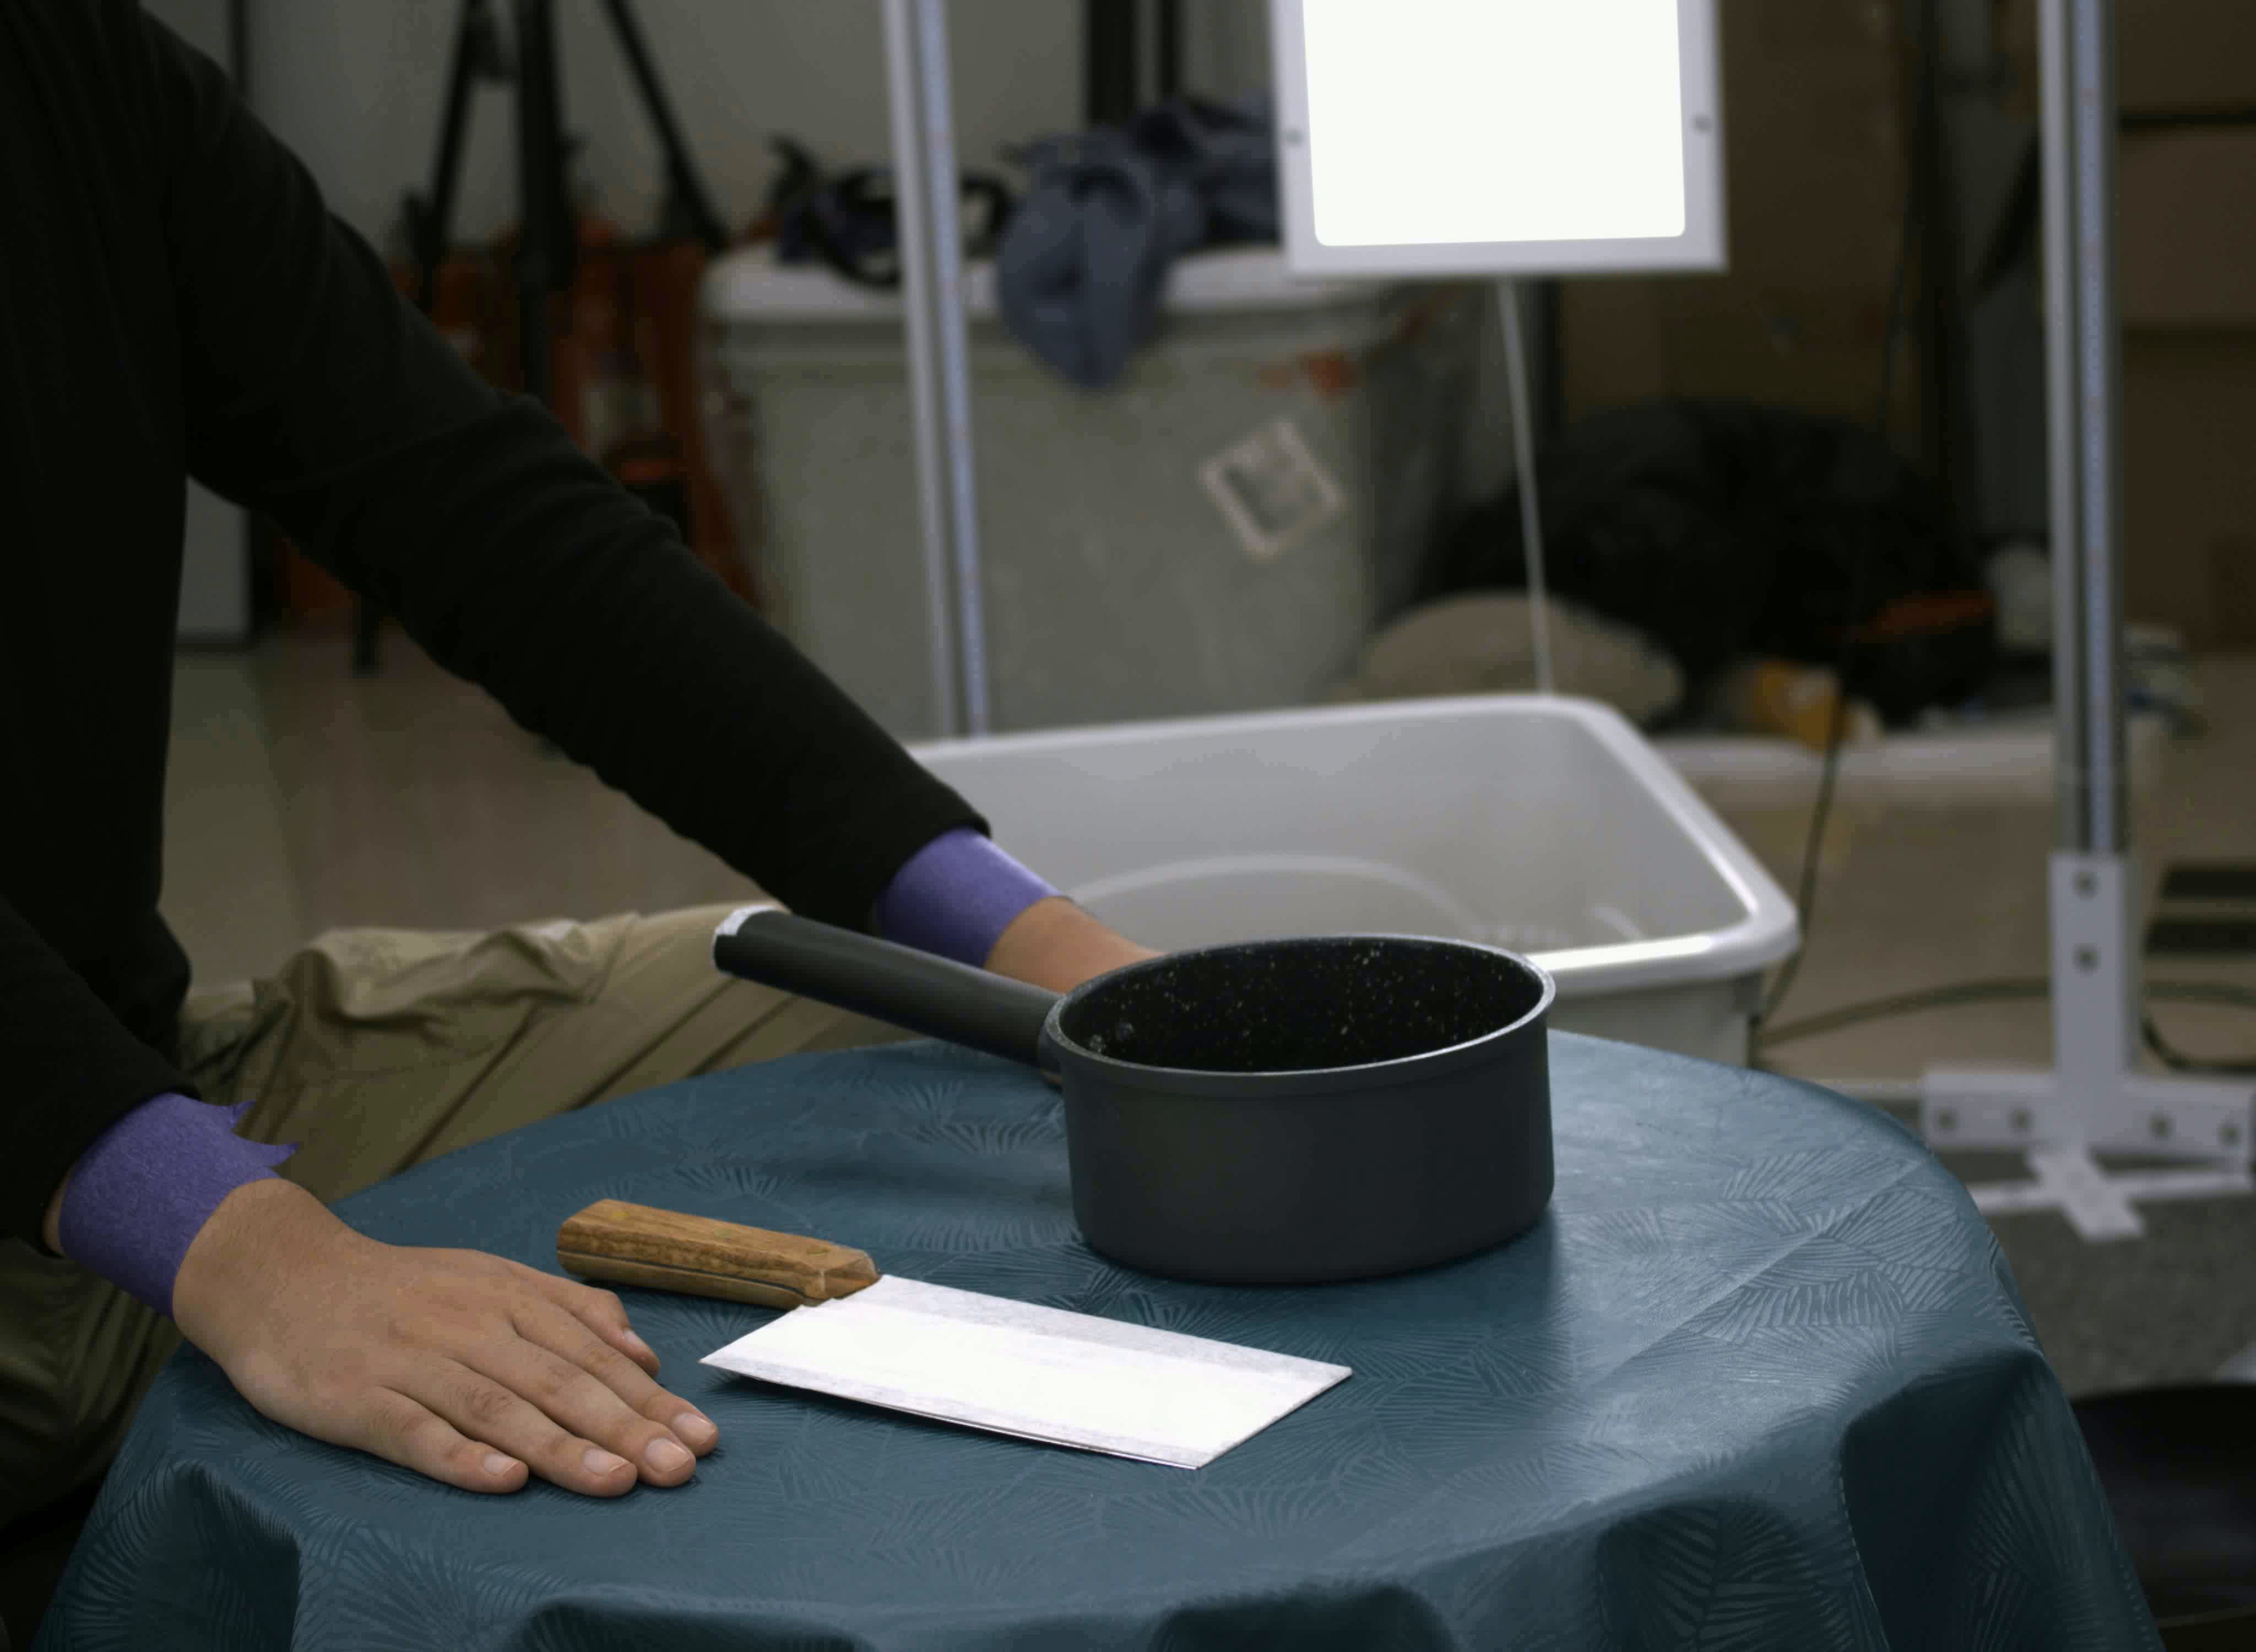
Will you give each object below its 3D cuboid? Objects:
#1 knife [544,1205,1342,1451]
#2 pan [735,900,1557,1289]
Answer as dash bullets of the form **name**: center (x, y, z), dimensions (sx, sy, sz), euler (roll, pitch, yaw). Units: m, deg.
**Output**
- **knife**: center (-0.079, 0.162, 1.753), dimensions (0.312, 0.021, 0.090), euler (8, 20, 35)
- **pan**: center (-0.003, 0.085, 1.897), dimensions (0.335, 0.087, 0.168), euler (7, 18, 38)
